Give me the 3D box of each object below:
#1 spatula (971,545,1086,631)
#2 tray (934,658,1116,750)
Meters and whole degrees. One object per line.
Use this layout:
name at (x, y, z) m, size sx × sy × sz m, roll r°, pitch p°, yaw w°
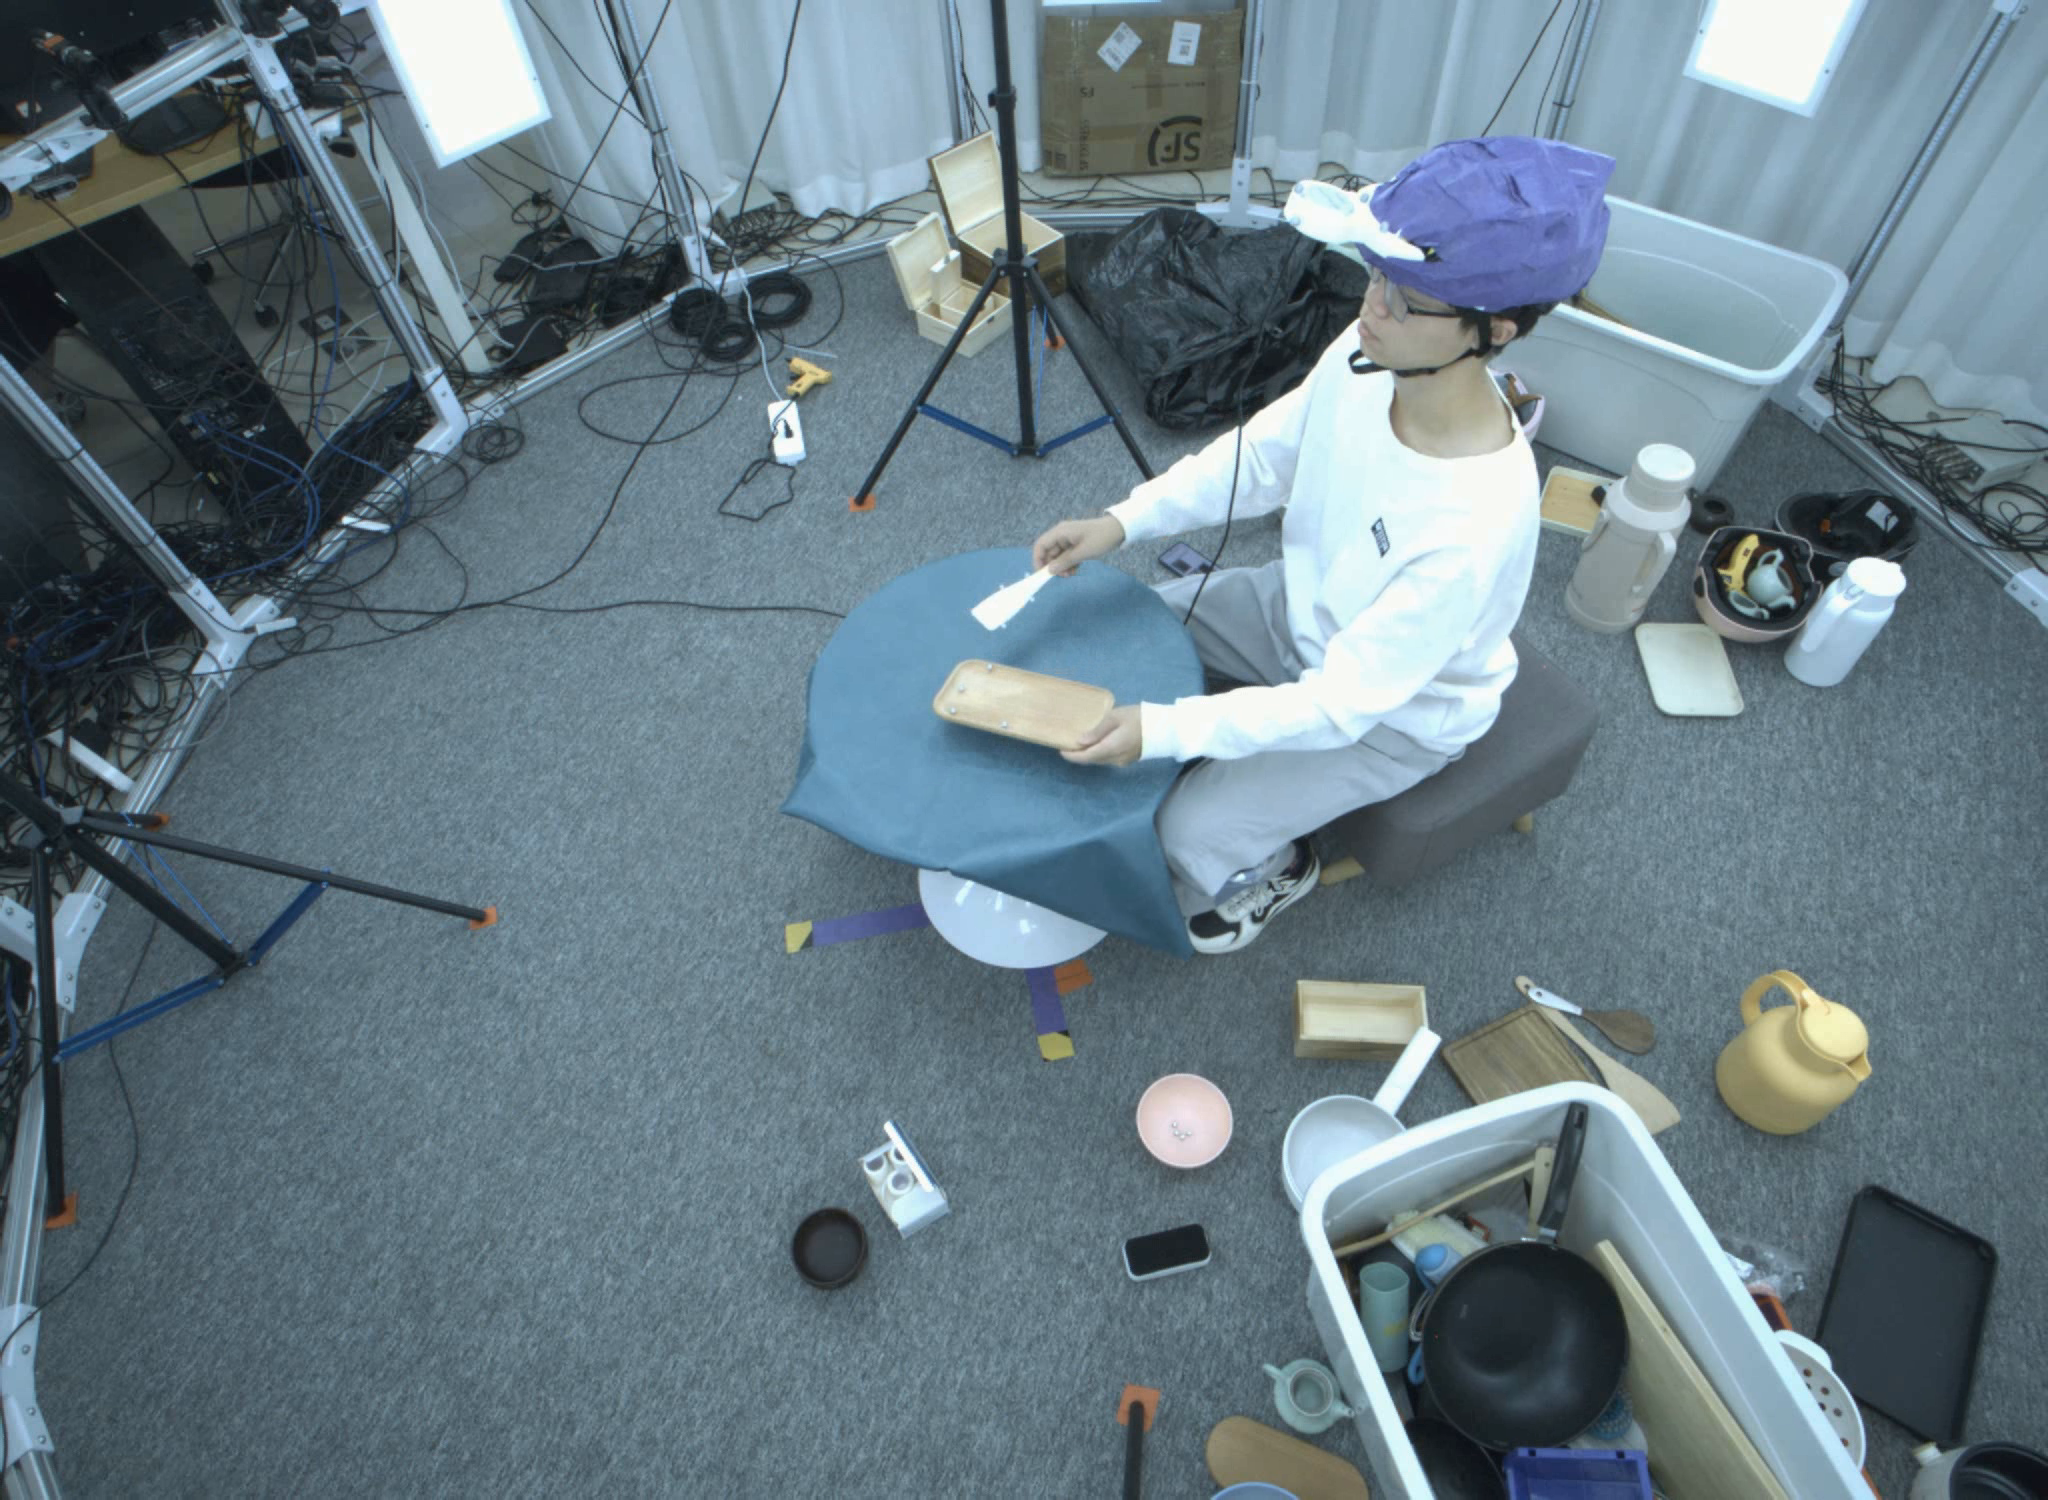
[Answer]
spatula at (0.012, -0.249, 1.848) m, size 0.209 × 0.005 × 0.050 m, roll -38°, pitch 73°, yaw -19°
tray at (0.001, -0.068, 1.768) m, size 0.247 × 0.023 × 0.130 m, roll 15°, pitch 52°, yaw 16°
